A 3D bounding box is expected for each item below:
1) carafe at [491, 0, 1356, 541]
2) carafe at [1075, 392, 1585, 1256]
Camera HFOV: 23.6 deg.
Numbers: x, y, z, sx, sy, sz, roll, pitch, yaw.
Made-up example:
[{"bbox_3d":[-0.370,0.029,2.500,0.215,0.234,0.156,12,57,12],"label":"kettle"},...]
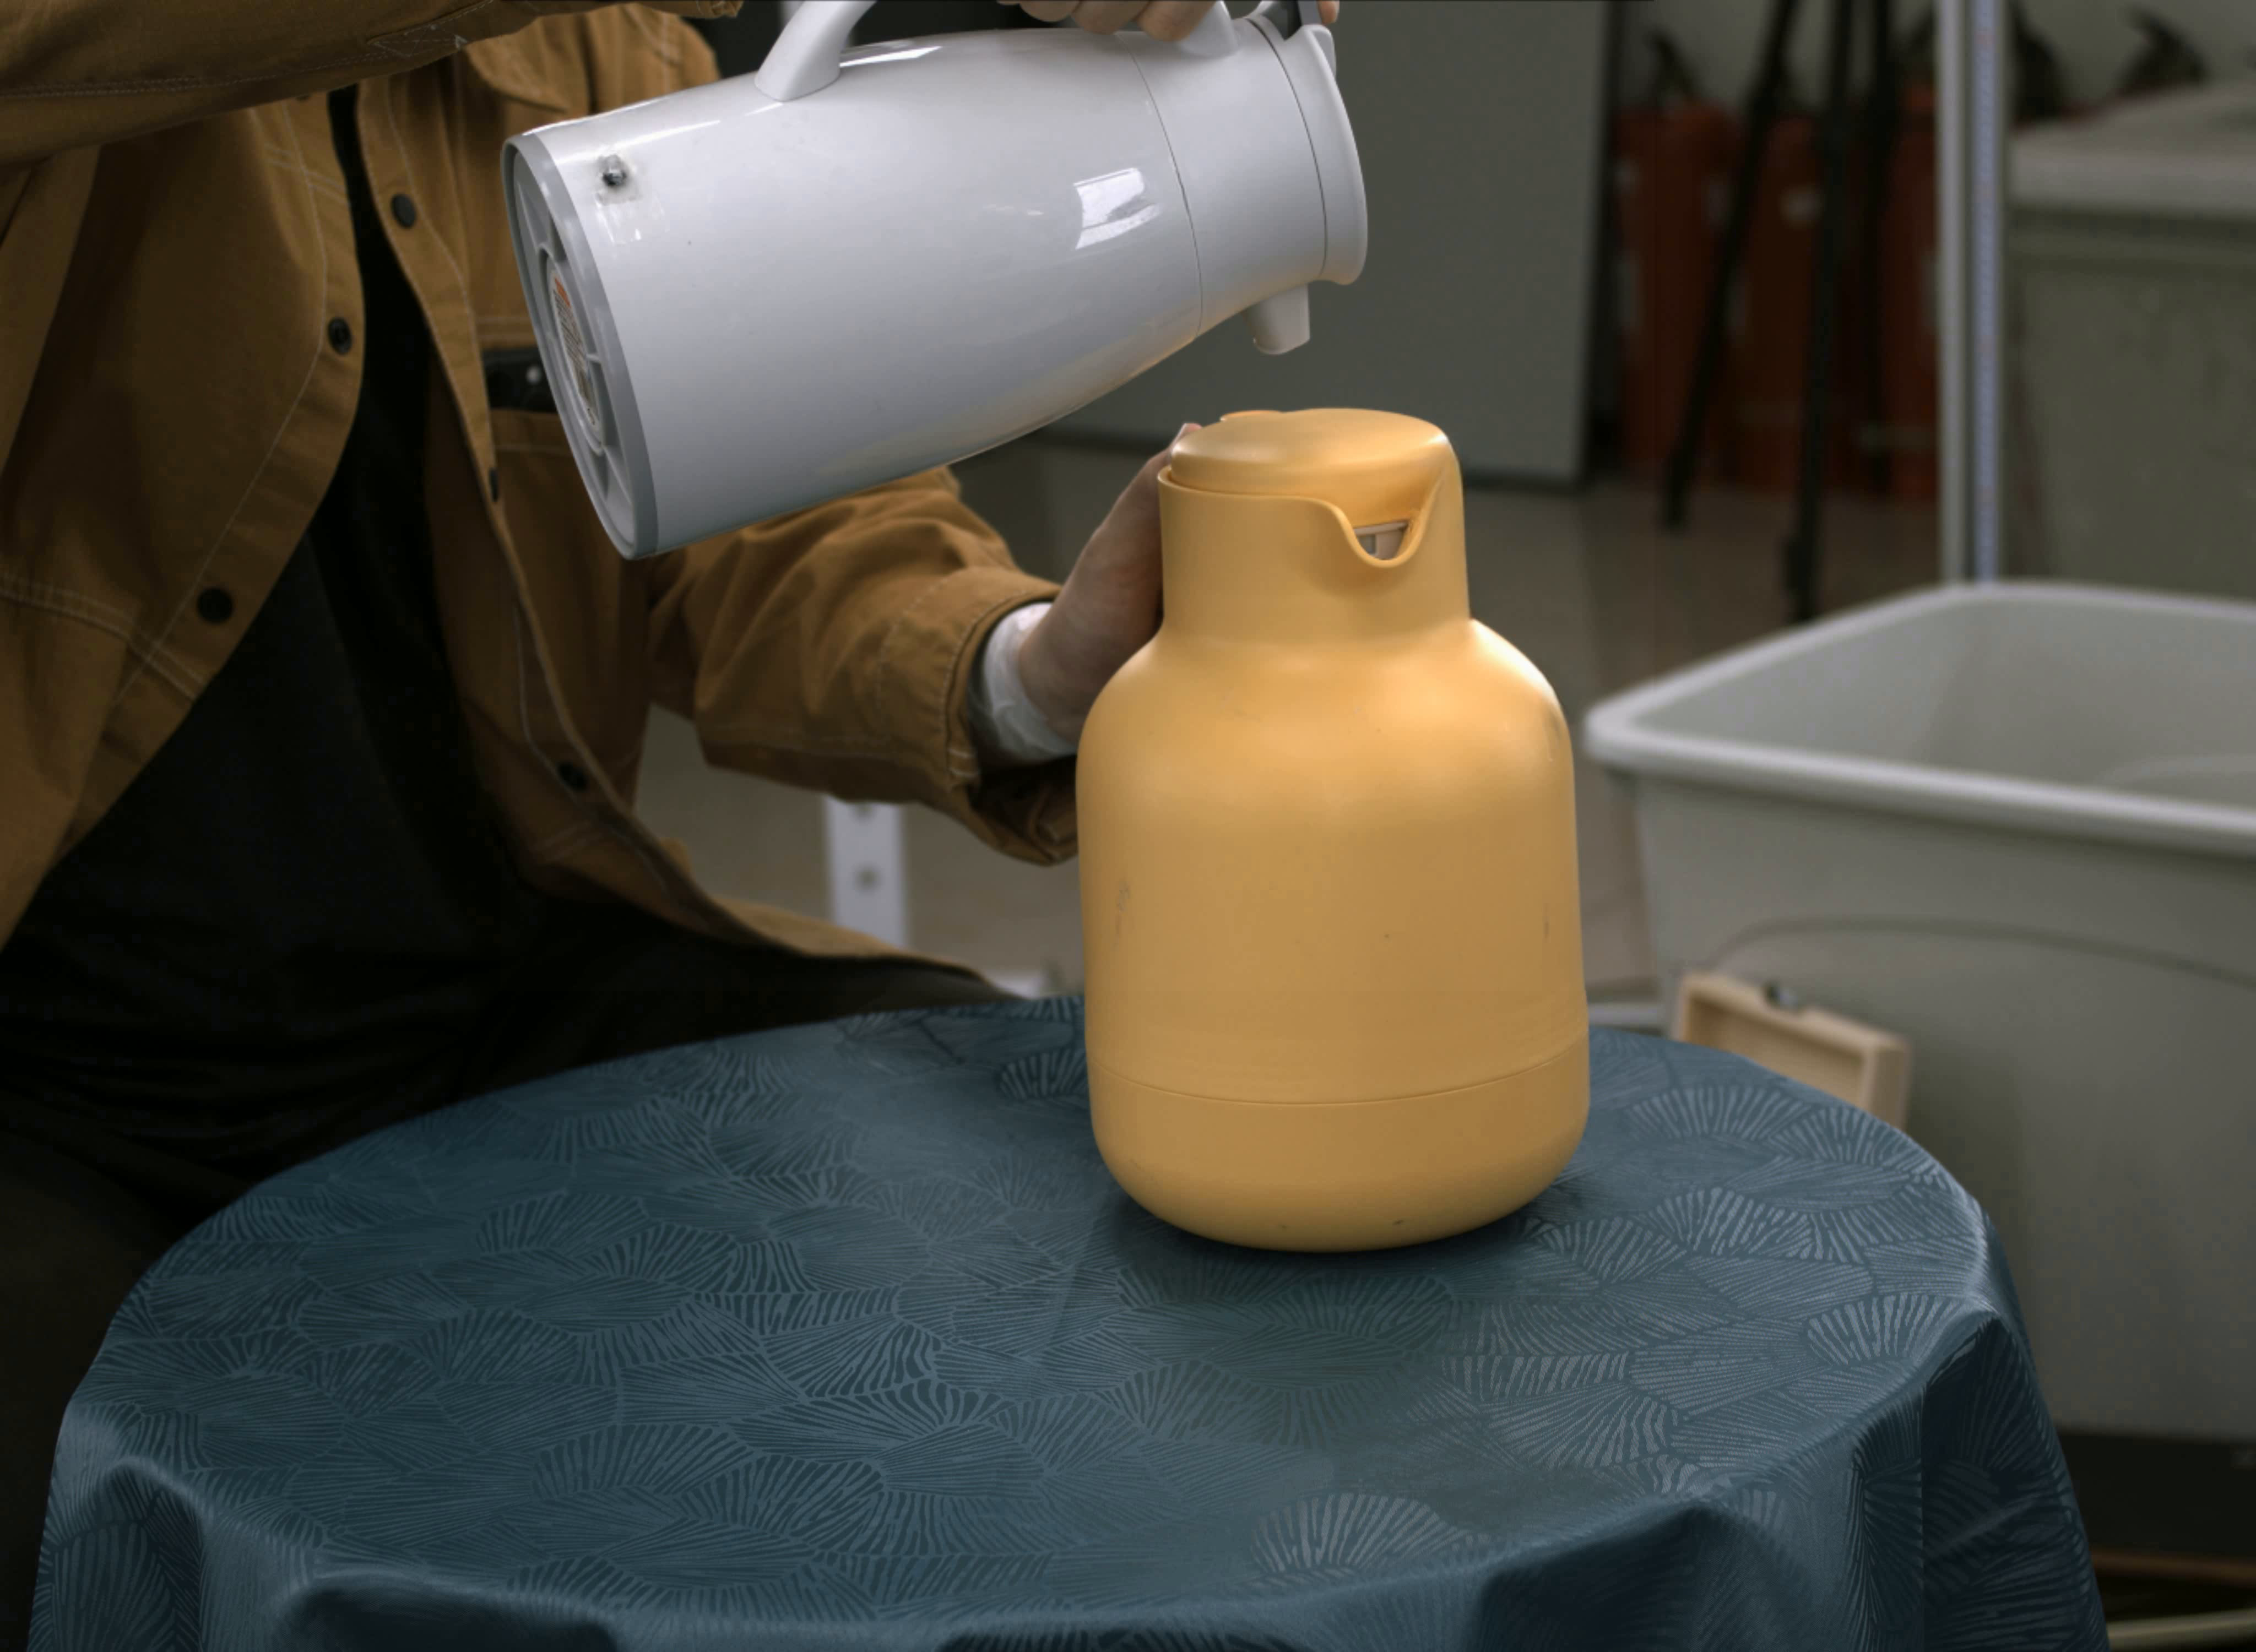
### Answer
[{"bbox_3d":[-0.057,-0.197,1.618,0.245,0.168,0.134,-16,31,-10],"label":"carafe"},{"bbox_3d":[0.059,-0.009,1.739,0.160,0.263,0.204,-5,15,-13],"label":"carafe"}]
